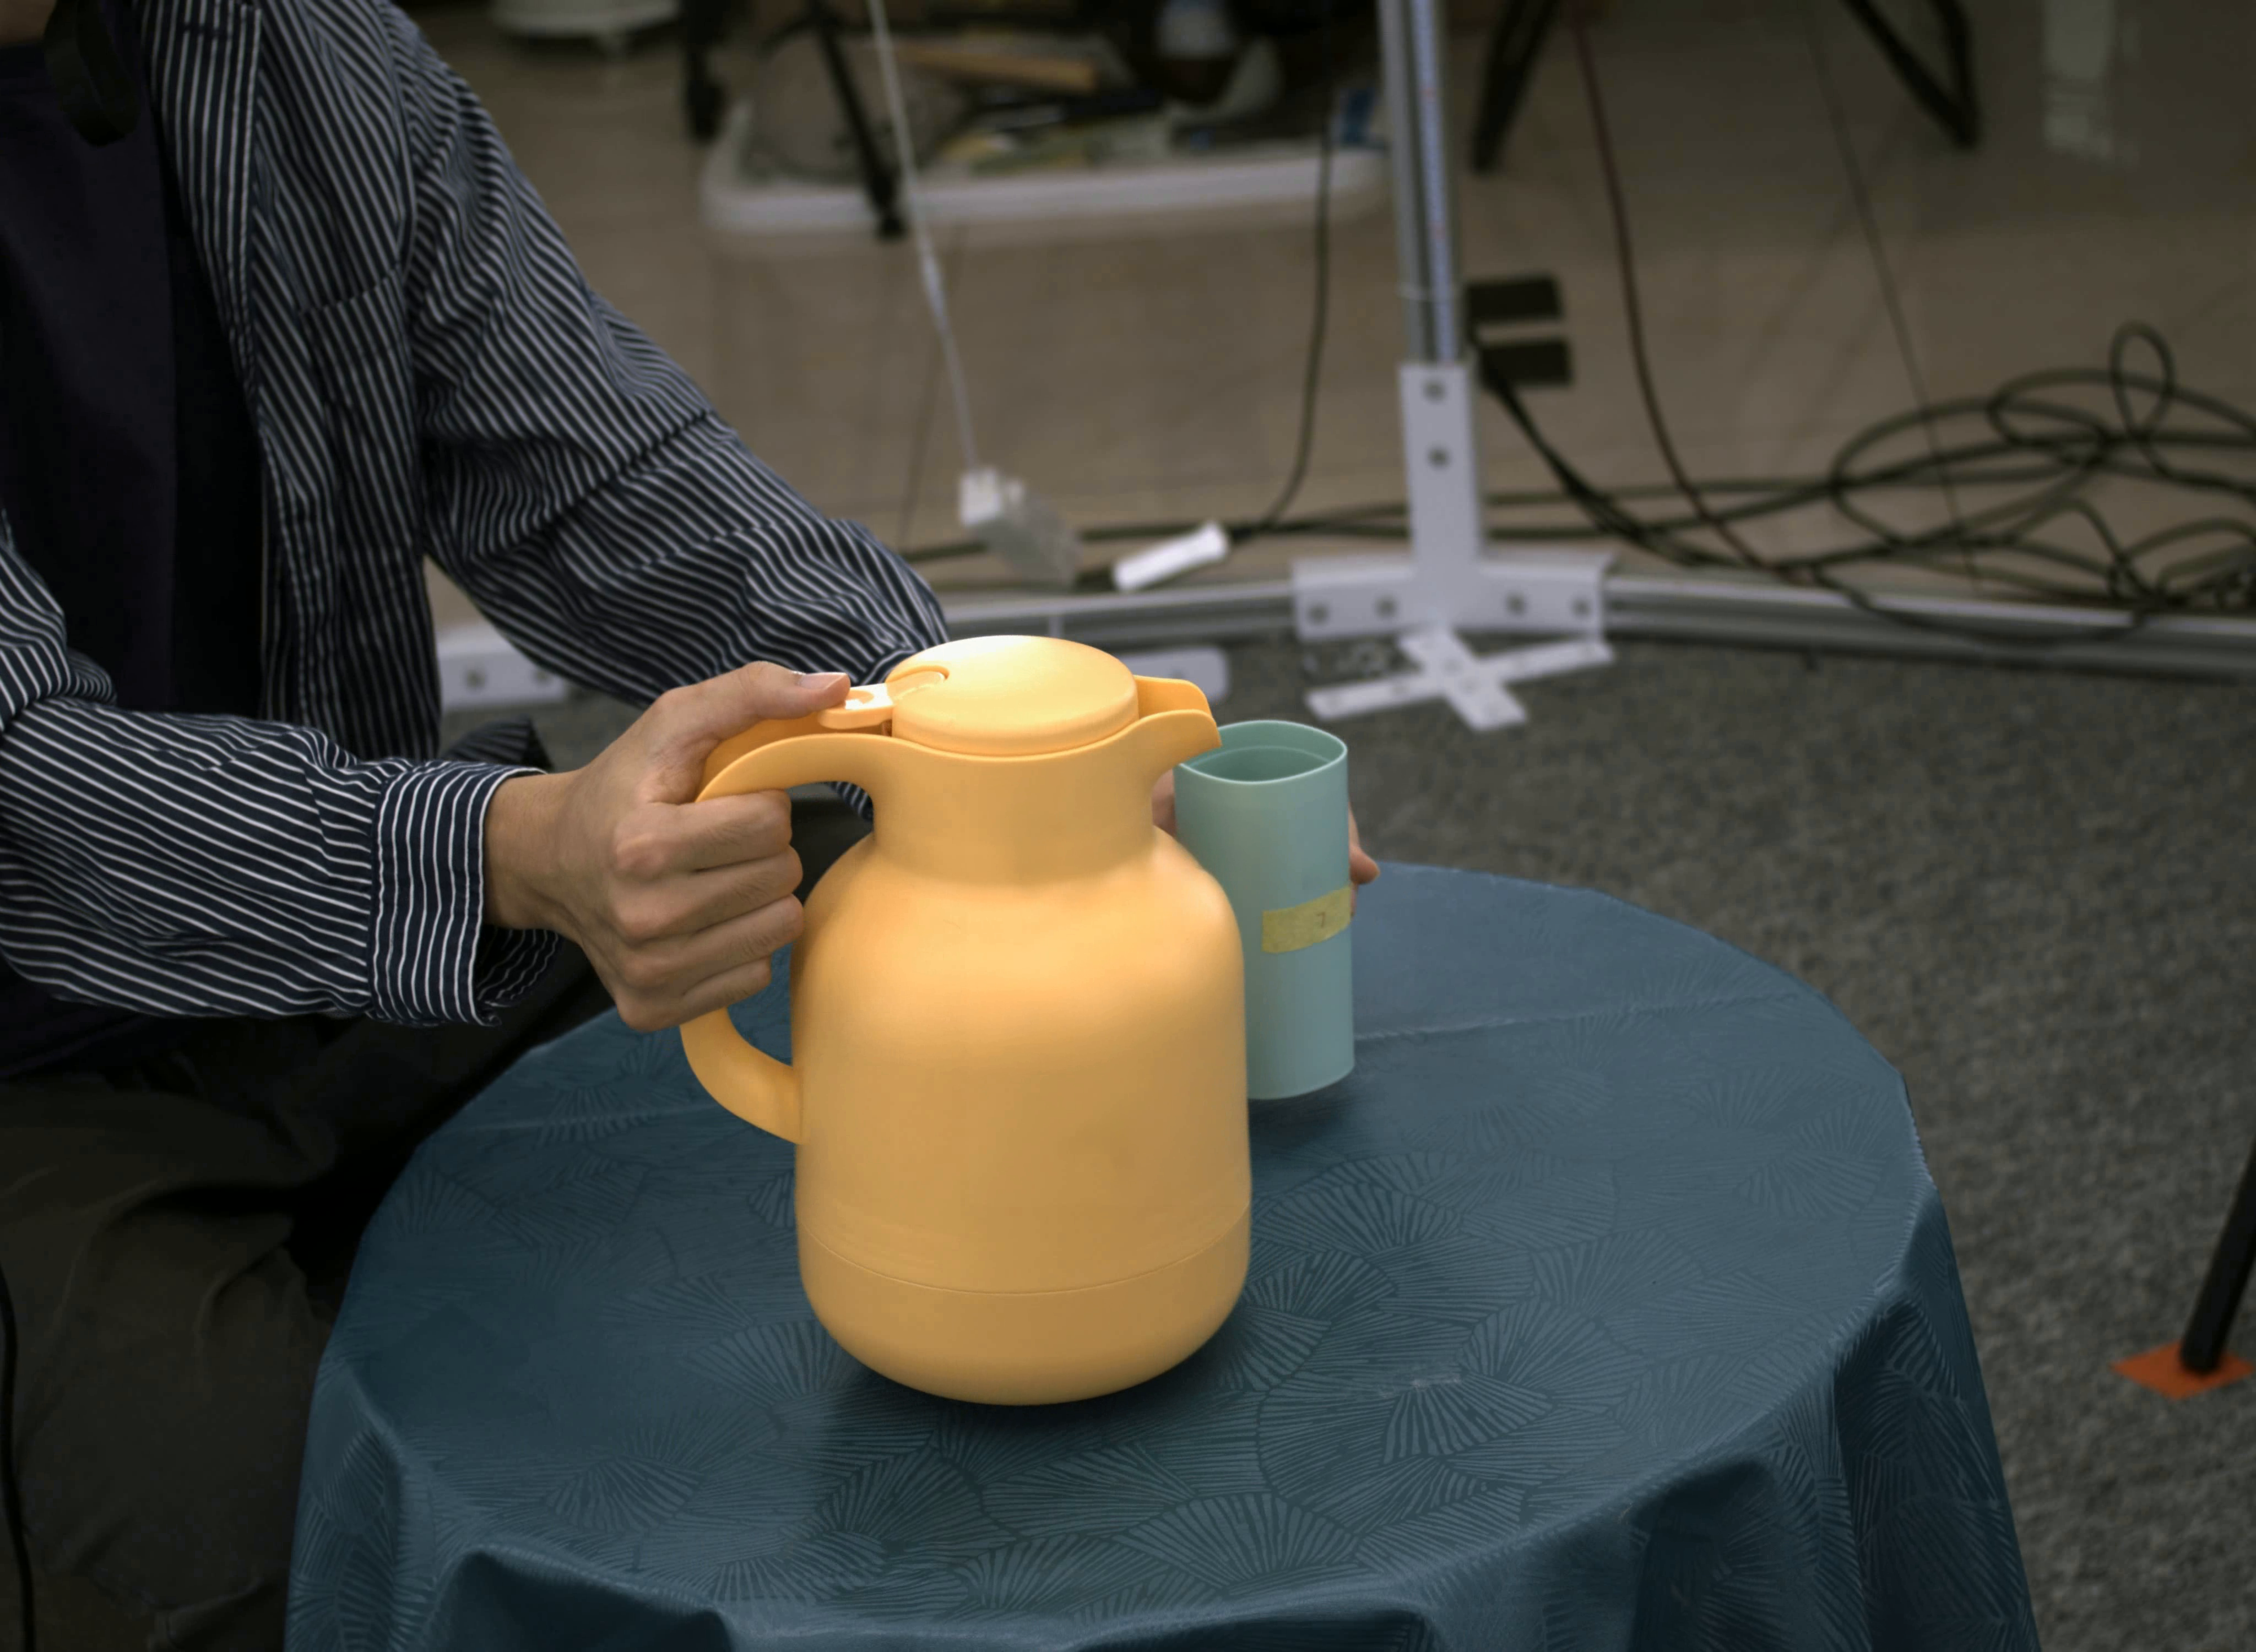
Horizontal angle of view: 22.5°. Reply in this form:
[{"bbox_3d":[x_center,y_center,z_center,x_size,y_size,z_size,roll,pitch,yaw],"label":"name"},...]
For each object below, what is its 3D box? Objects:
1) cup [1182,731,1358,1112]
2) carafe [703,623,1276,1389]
[{"bbox_3d":[0.053,0.035,2.163,0.066,0.134,0.066,-3,23,1],"label":"cup"},{"bbox_3d":[-0.048,0.060,2.008,0.202,0.264,0.161,-4,25,-9],"label":"carafe"}]
